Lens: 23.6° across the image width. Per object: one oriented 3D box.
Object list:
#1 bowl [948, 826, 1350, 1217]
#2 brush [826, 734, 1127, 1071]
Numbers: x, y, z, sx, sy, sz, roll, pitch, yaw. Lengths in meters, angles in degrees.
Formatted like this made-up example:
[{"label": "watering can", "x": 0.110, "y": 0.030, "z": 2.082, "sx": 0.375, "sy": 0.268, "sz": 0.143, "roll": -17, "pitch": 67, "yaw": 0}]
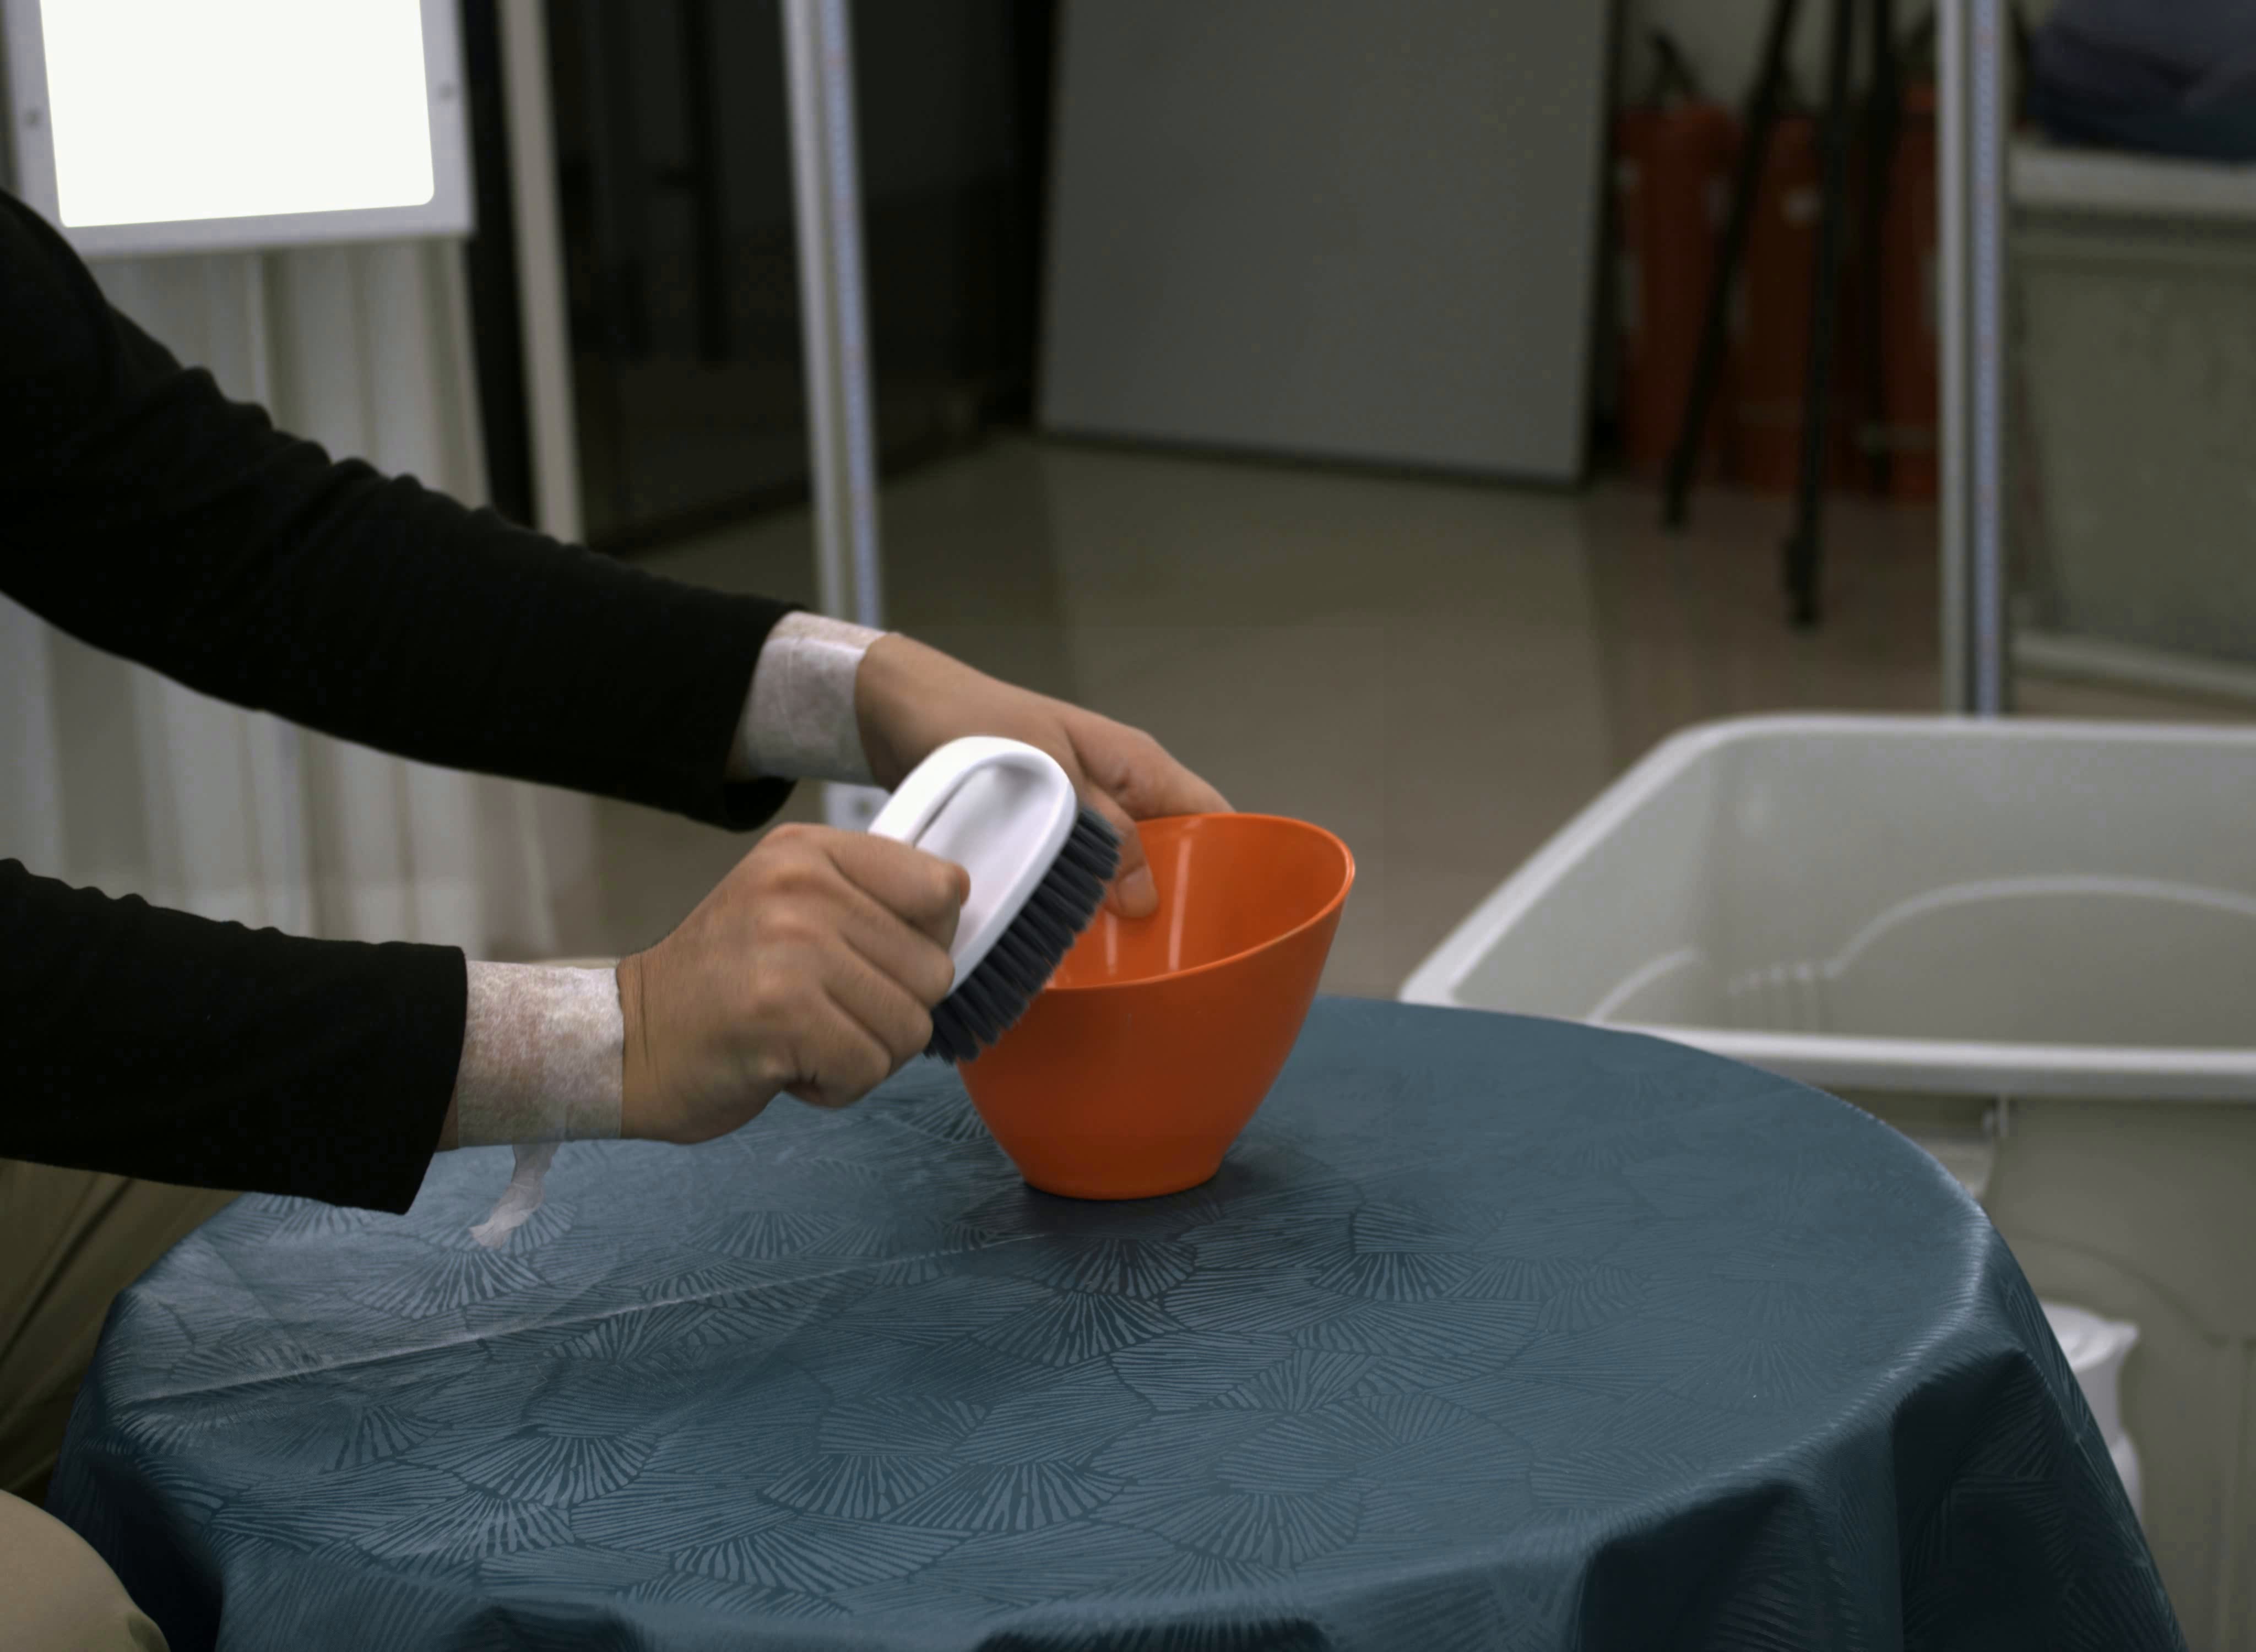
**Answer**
[{"label": "bowl", "x": 0.005, "y": 0.067, "z": 1.783, "sx": 0.146, "sy": 0.106, "sz": 0.148, "roll": -5, "pitch": 13, "yaw": 0}, {"label": "brush", "x": -0.053, "y": 0.017, "z": 1.665, "sx": 0.099, "sy": 0.071, "sz": 0.051, "roll": -51, "pitch": 43, "yaw": -9}]
